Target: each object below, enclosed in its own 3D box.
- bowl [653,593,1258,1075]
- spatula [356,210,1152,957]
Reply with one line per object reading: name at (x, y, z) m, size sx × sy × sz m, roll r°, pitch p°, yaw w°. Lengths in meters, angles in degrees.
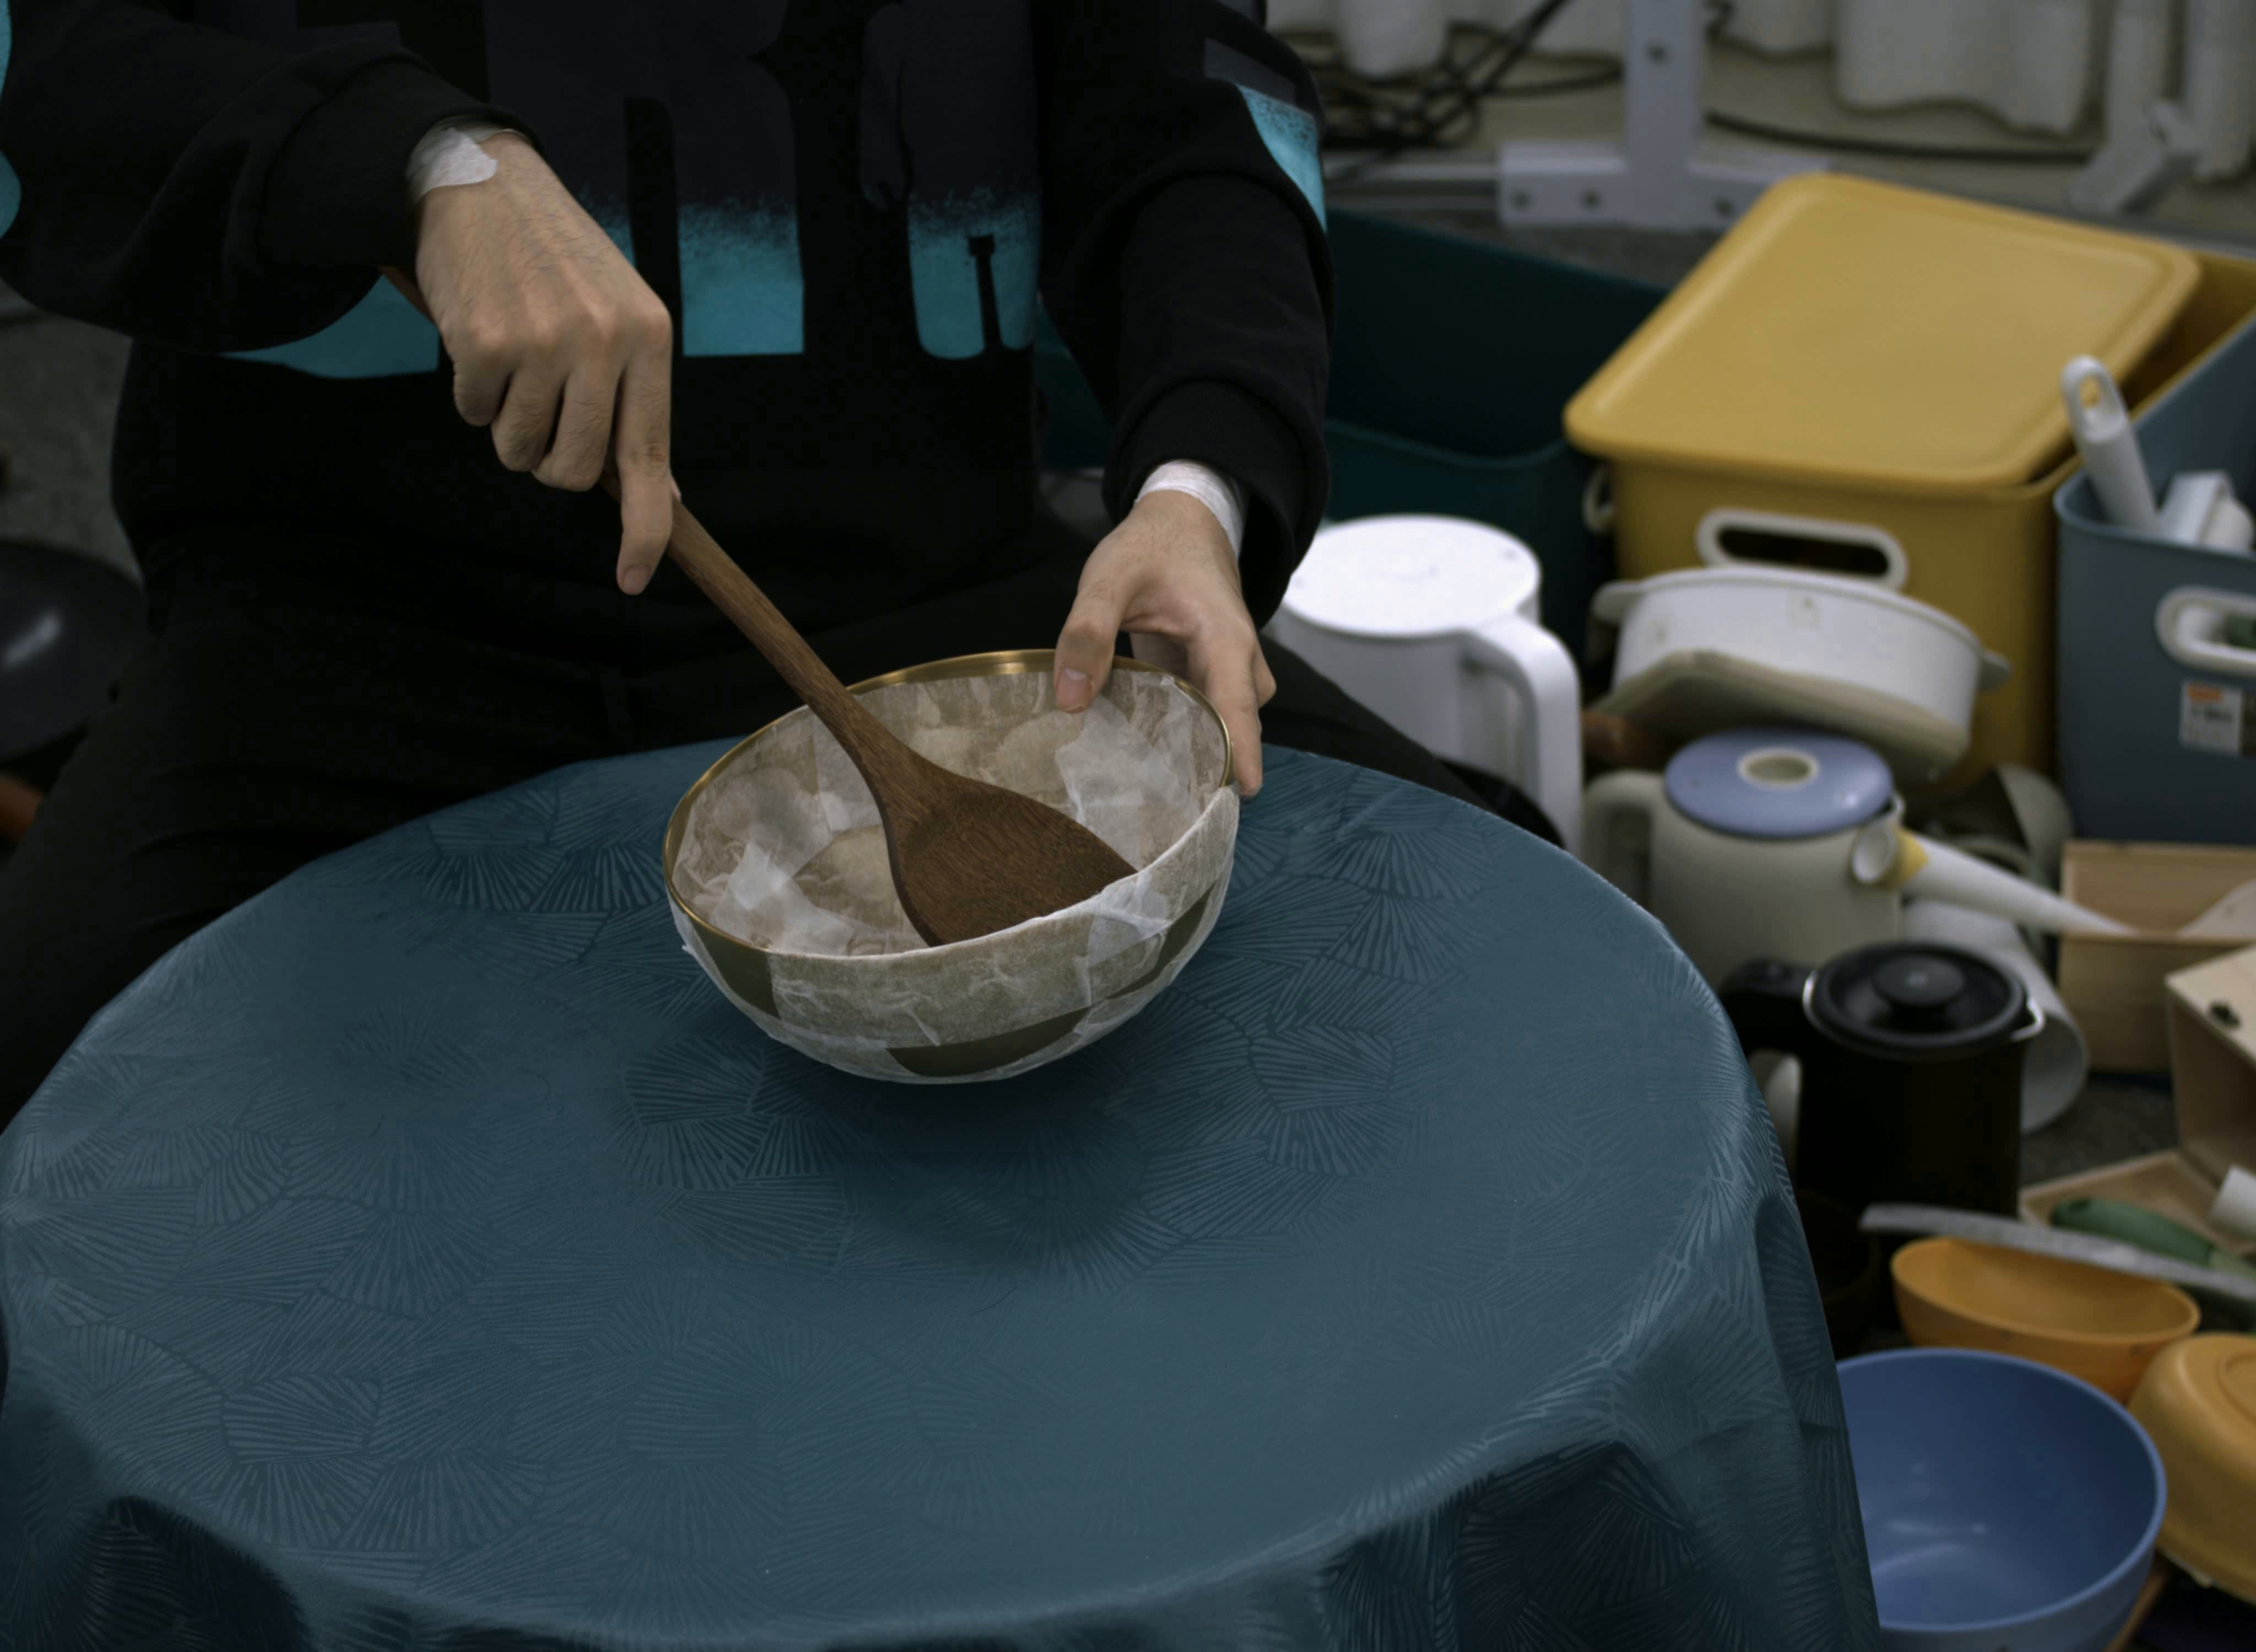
bowl at (-0.053, 0.016, 1.929) m, size 0.213 × 0.093 × 0.219 m, roll -8°, pitch 37°, yaw 6°
spatula at (-0.136, -0.079, 1.952) m, size 0.387 × 0.015 × 0.097 m, roll 46°, pitch 42°, yaw 9°
